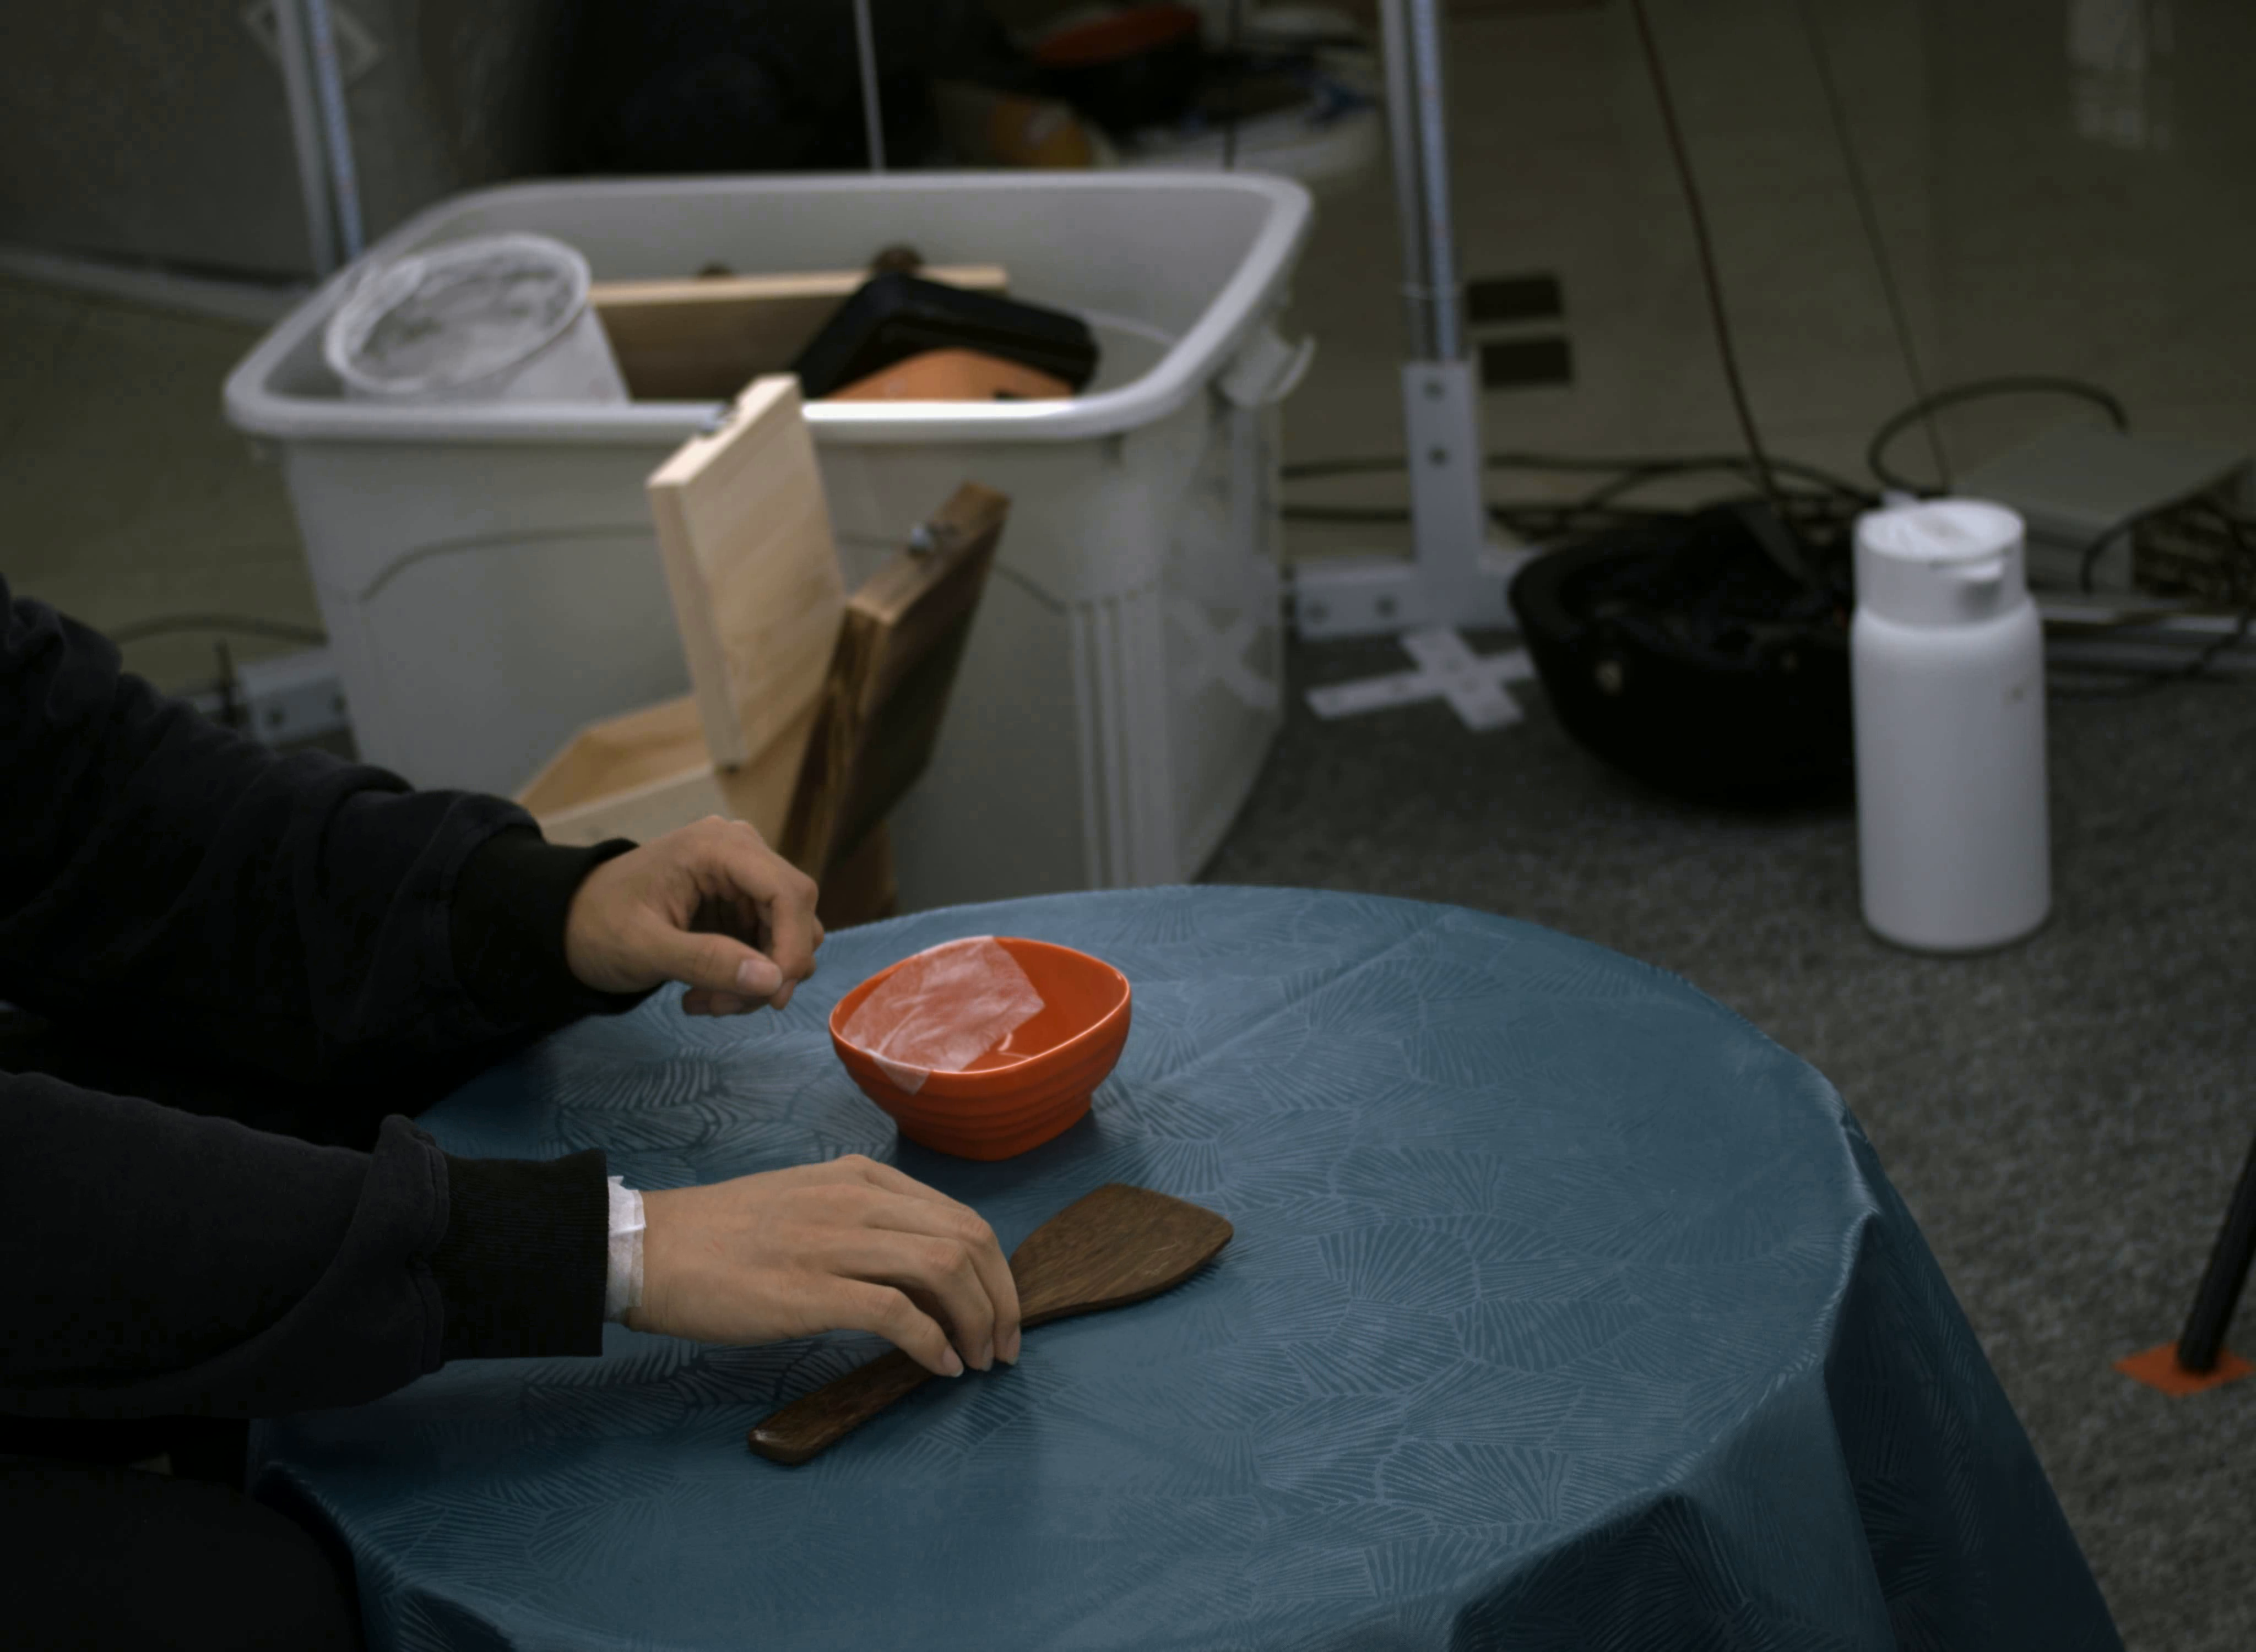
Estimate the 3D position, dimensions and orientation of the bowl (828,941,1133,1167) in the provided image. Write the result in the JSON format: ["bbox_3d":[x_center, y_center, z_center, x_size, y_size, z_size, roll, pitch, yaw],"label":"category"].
[{"bbox_3d":[-0.055,0.093,2.208,0.119,0.052,0.117,-4,26,2],"label":"bowl"}]

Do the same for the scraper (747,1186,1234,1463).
[{"bbox_3d":[-0.054,0.183,2.062,0.209,0.011,0.075,-27,30,-37],"label":"scraper"}]
